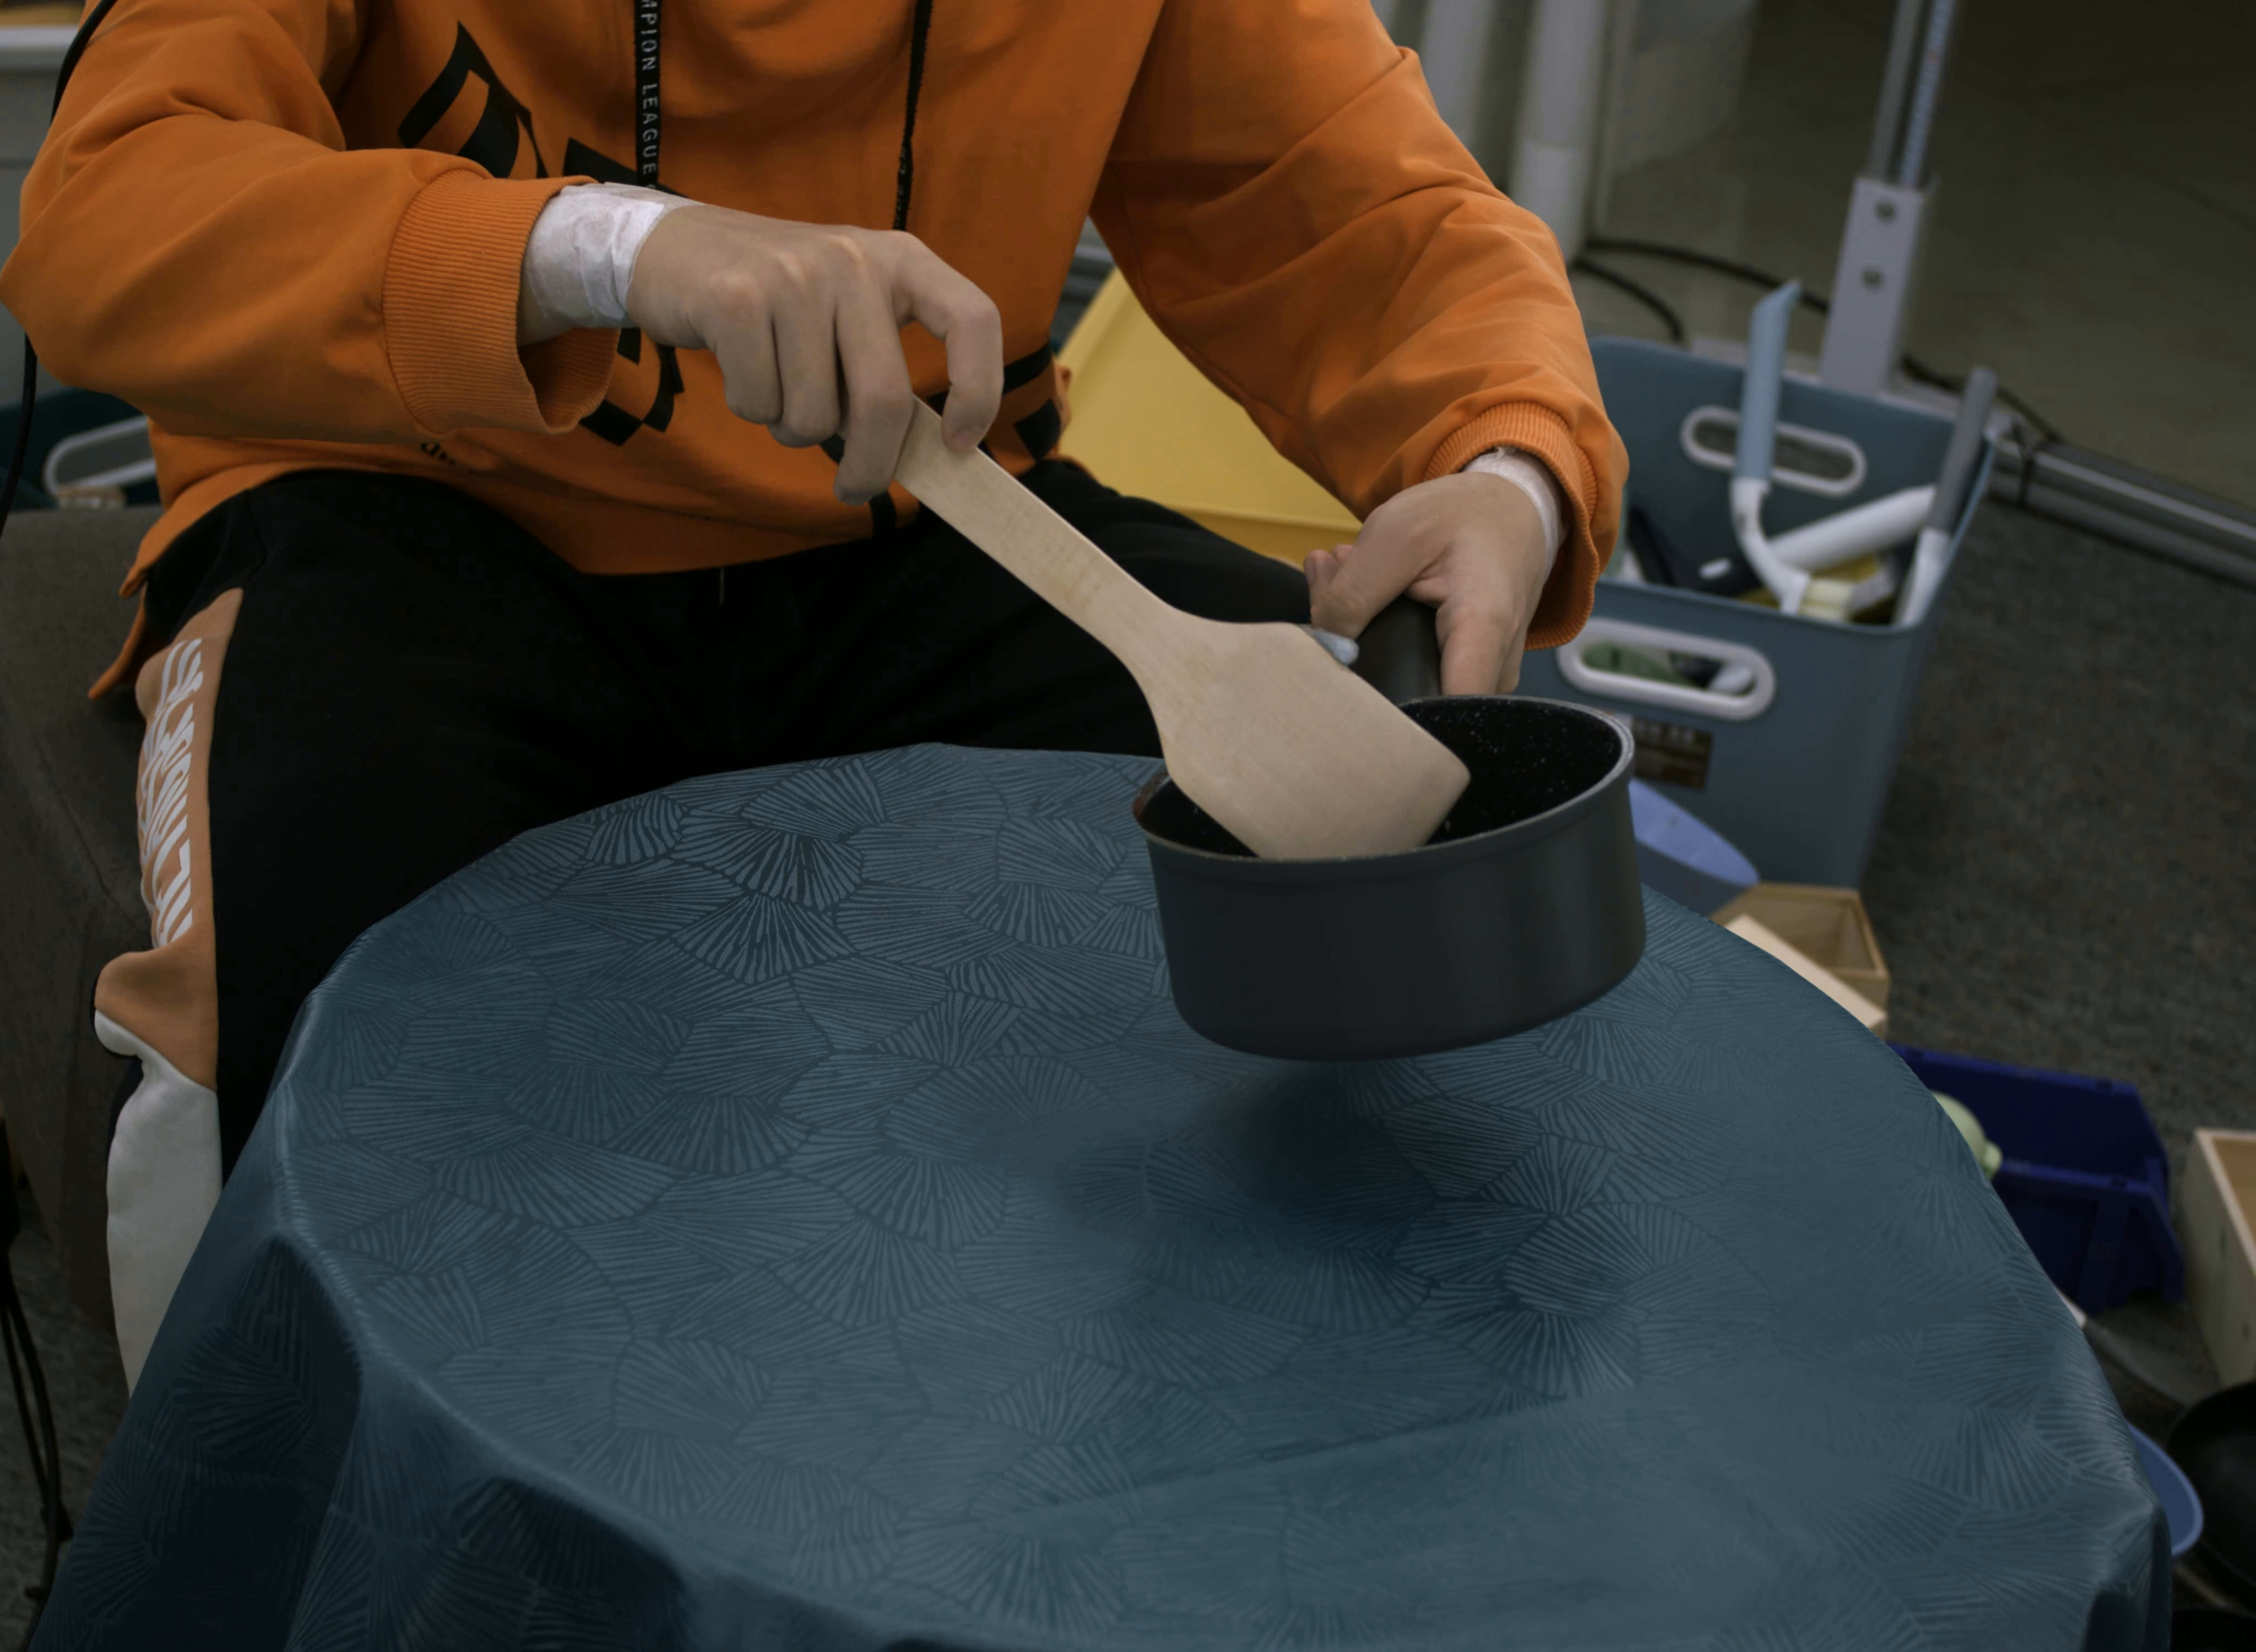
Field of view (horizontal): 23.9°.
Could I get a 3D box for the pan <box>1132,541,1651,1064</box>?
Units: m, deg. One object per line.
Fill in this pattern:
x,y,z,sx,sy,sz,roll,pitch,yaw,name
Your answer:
0.099,-0.012,1.876,0.172,0.086,0.330,-5,19,9,pan

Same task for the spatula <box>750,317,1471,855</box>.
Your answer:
-0.014,-0.080,1.820,0.294,0.072,0.010,39,11,10,spatula
